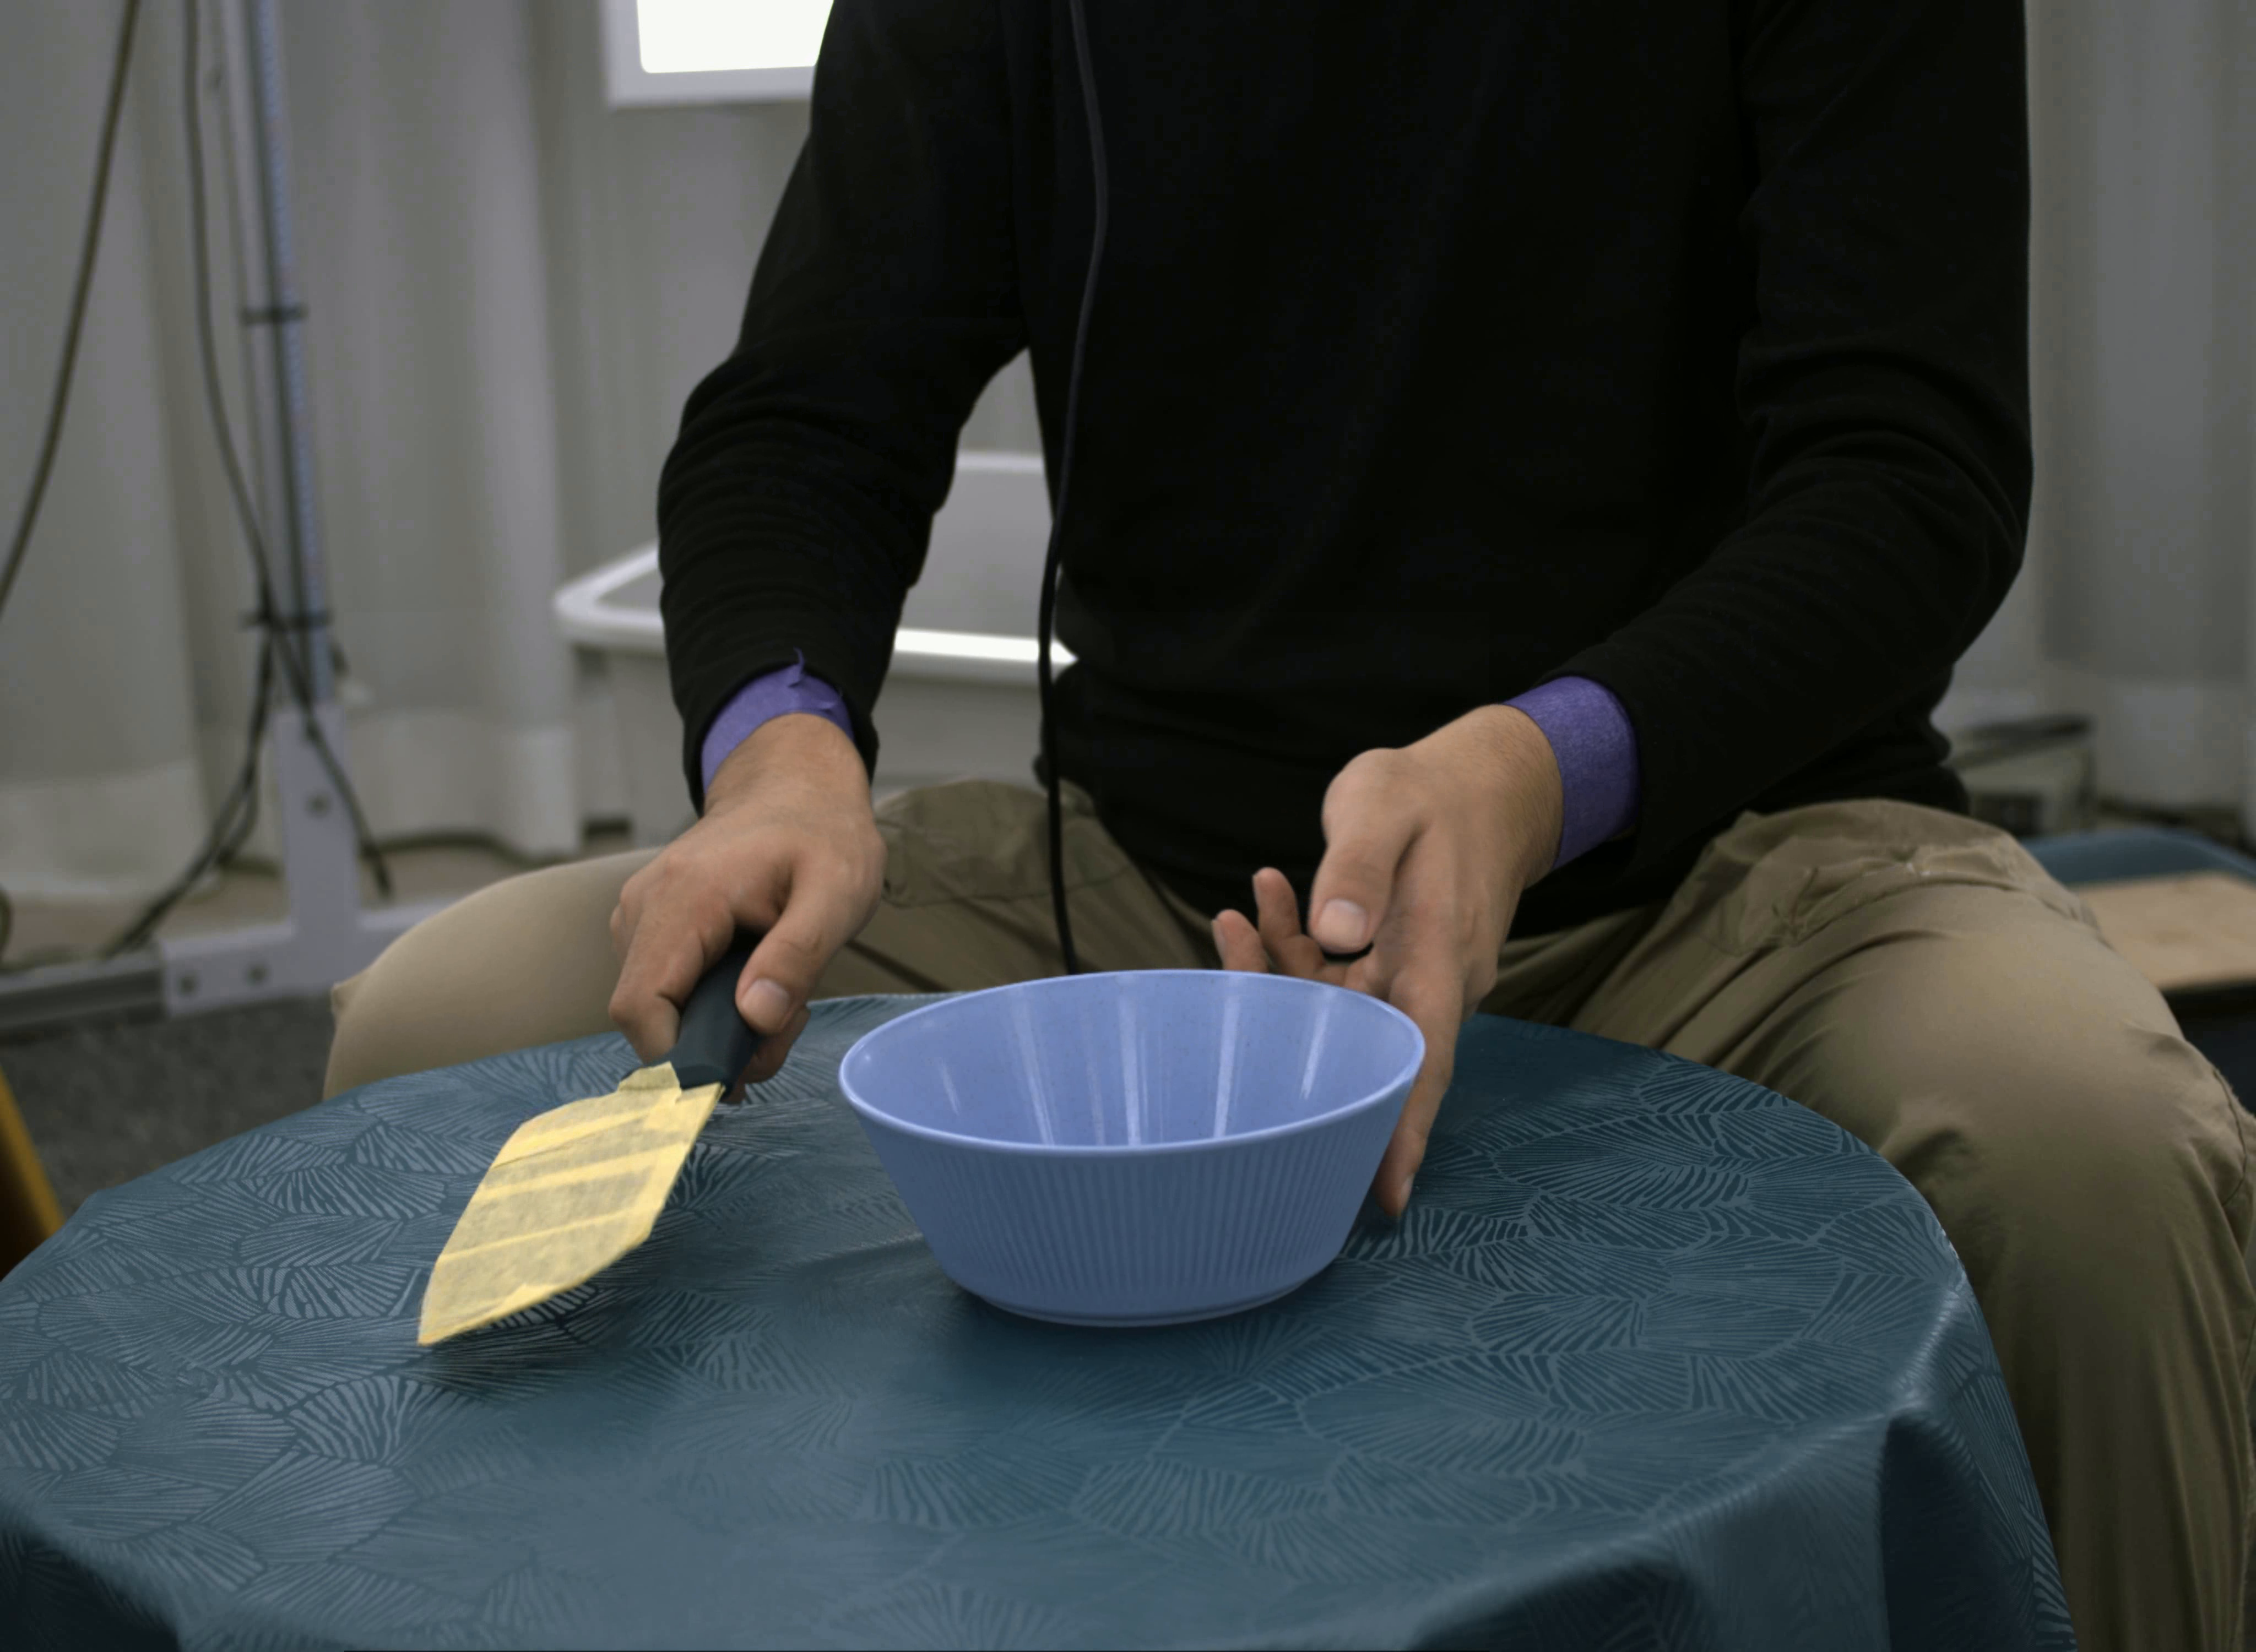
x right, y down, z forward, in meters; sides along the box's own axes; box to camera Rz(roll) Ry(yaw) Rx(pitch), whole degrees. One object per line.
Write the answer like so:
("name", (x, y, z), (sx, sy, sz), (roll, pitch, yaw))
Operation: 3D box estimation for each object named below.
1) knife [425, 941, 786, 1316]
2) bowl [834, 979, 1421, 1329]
("knife", (-0.158, 0.093, 1.697), (0.081, 0.027, 0.291), (-11, 16, 15))
("bowl", (0.002, 0.100, 1.637), (0.175, 0.070, 0.177), (-3, 15, 1))
